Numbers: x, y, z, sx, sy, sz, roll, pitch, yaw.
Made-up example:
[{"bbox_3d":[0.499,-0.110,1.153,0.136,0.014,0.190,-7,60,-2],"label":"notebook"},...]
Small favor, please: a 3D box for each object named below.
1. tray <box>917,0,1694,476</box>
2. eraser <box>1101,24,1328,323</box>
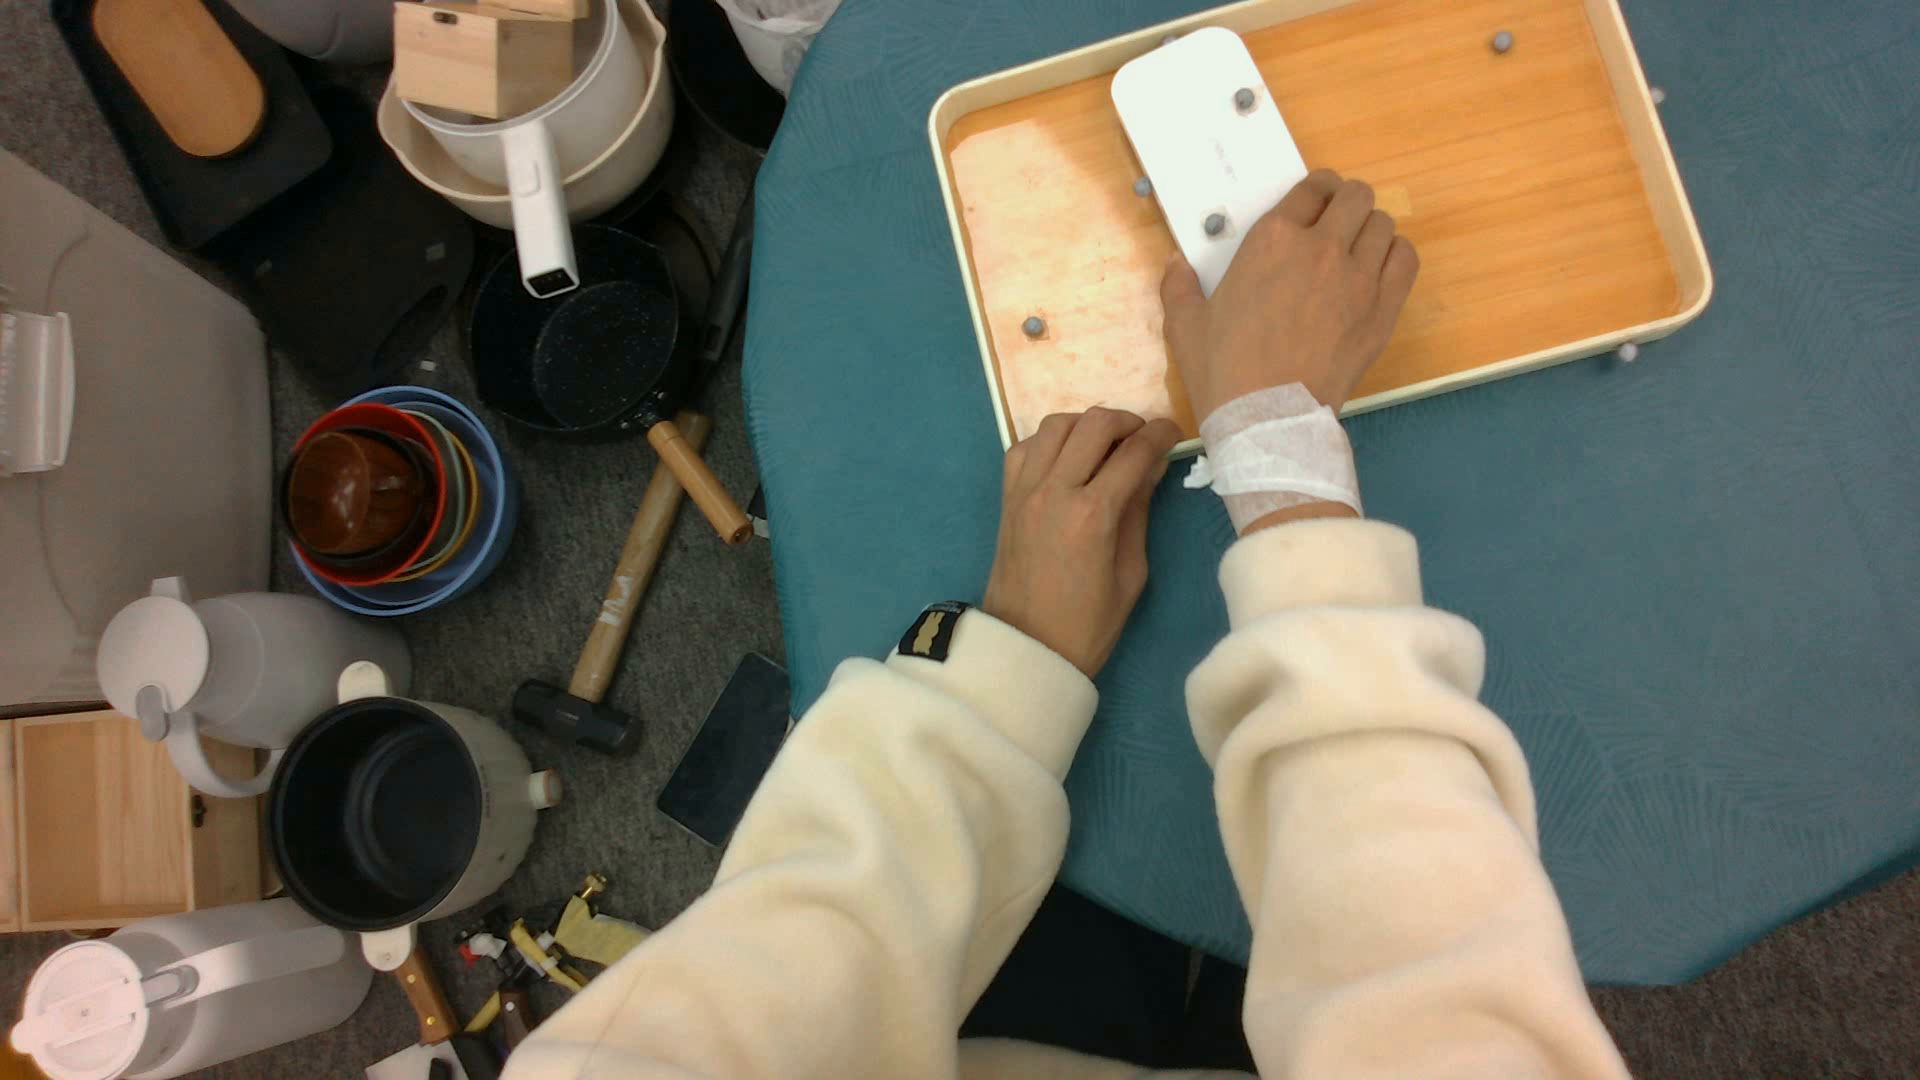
[{"bbox_3d":[0.143,-0.152,0.609,0.300,0.027,0.192,-14,79,5],"label":"tray"},{"bbox_3d":[0.110,-0.161,0.606,0.063,0.034,0.131,-22,78,5],"label":"eraser"}]
